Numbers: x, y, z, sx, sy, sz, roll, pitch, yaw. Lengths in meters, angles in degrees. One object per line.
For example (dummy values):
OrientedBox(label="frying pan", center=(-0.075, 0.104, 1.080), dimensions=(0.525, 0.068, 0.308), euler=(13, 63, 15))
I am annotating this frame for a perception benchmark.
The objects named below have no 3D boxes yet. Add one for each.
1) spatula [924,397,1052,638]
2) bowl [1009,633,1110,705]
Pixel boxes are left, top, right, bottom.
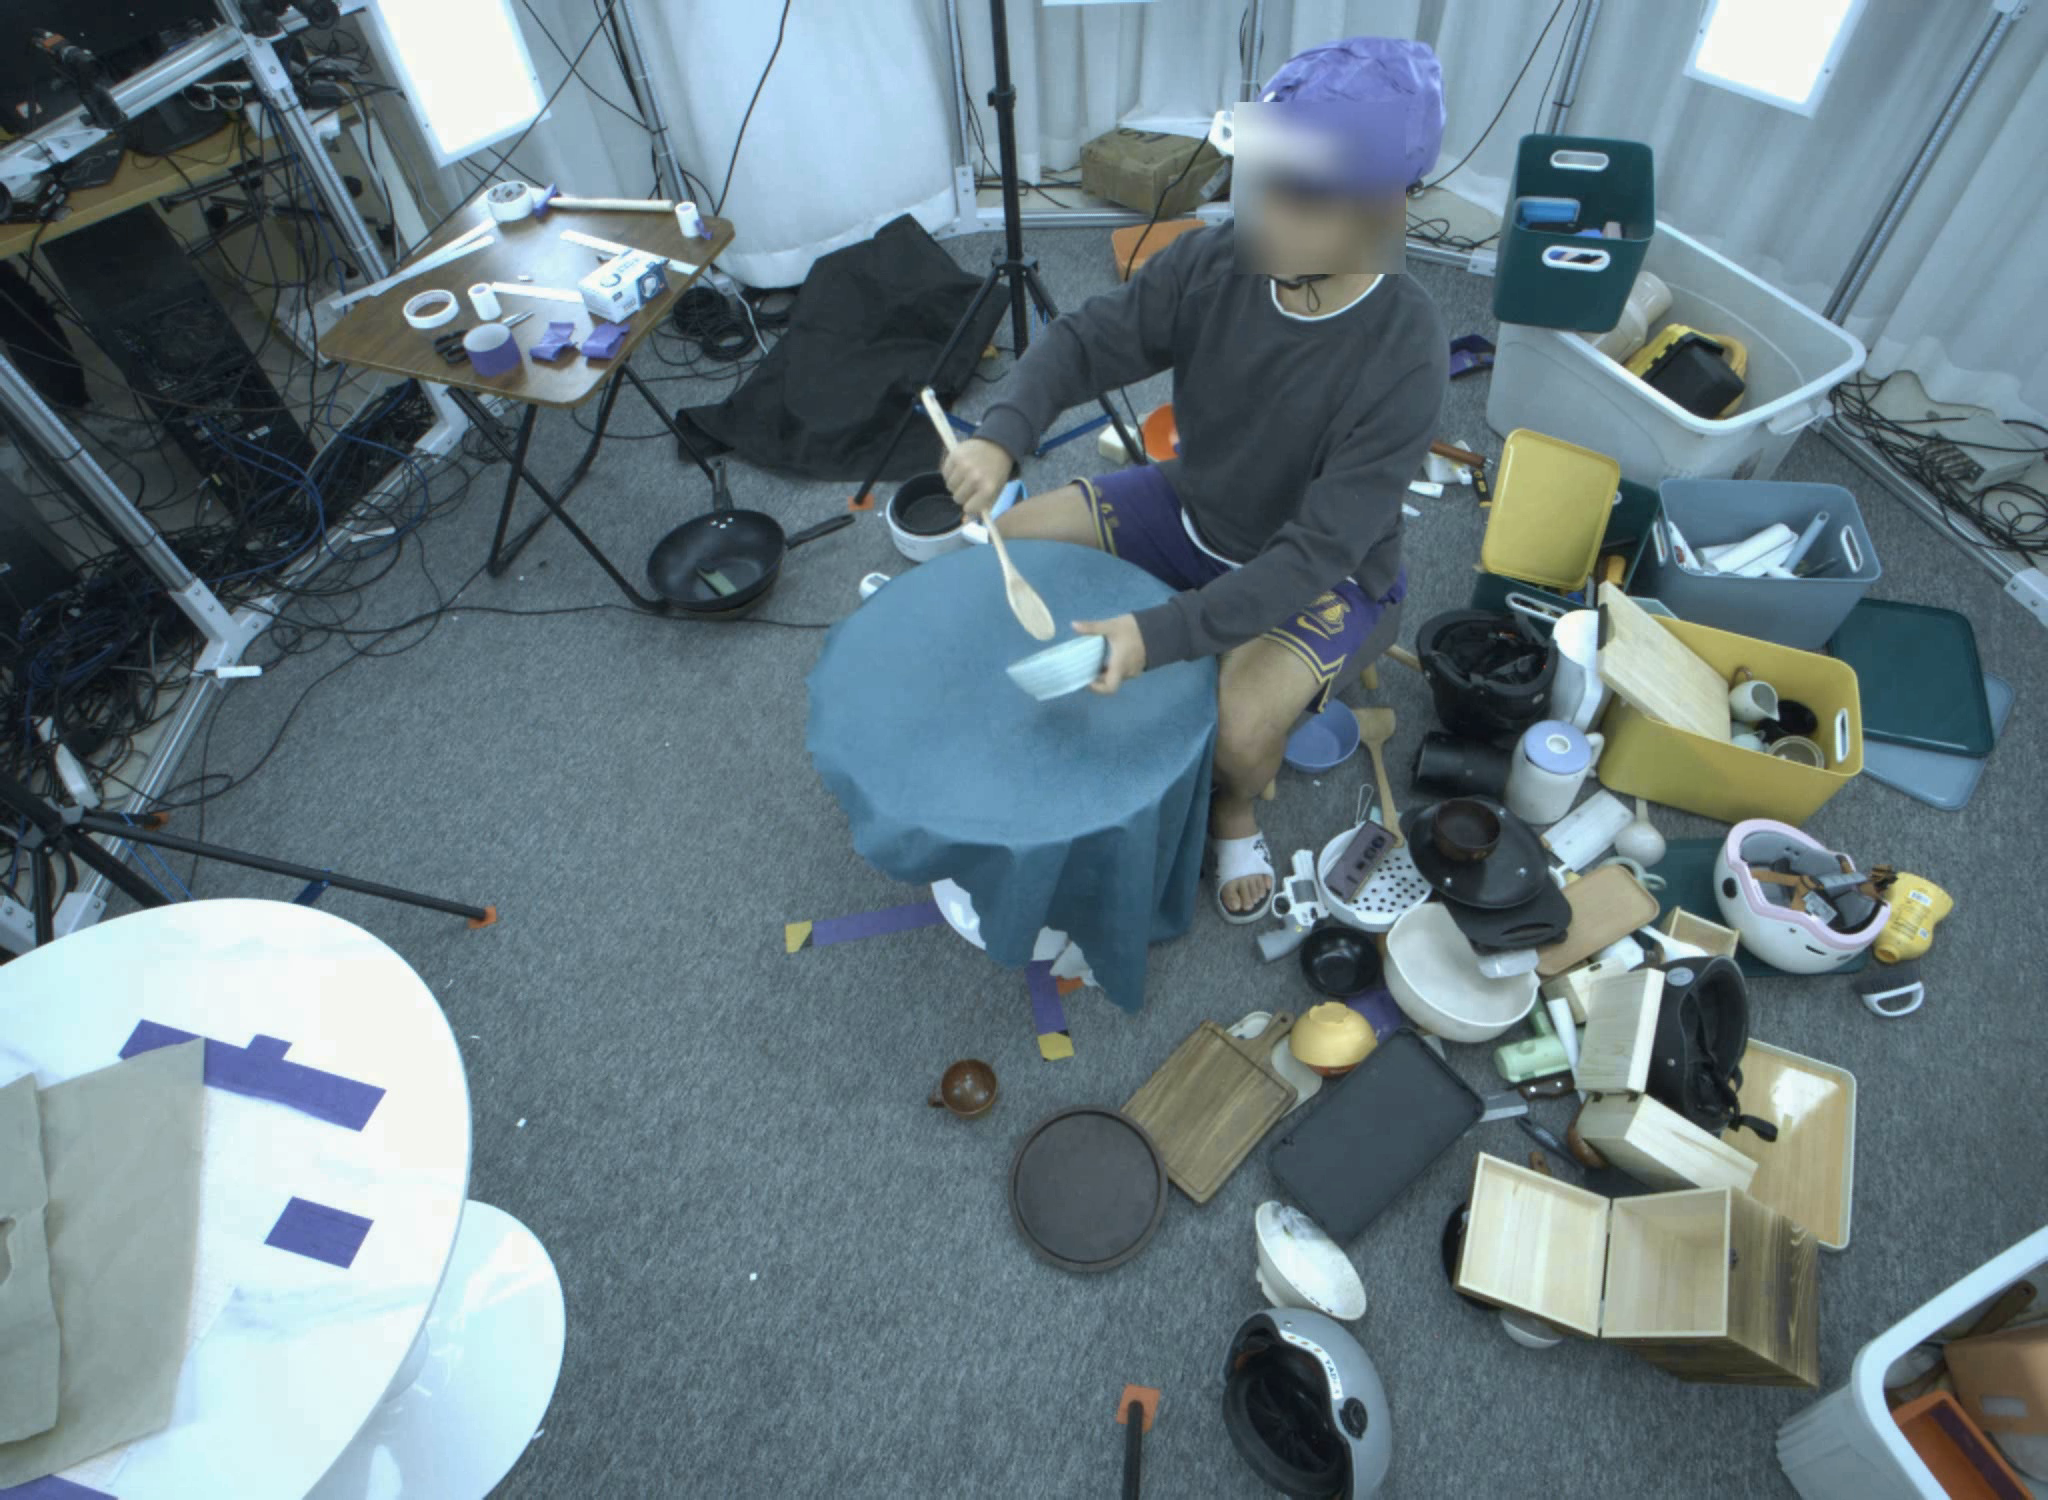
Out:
OrientedBox(label="spatula", center=(-0.060, -0.330, 1.697), dimensions=(0.018, 0.097, 0.391), euler=(-24, 92, 24))
OrientedBox(label="bowl", center=(0.059, -0.109, 1.733), dimensions=(0.152, 0.149, 0.059), euler=(-25, 100, -14))
